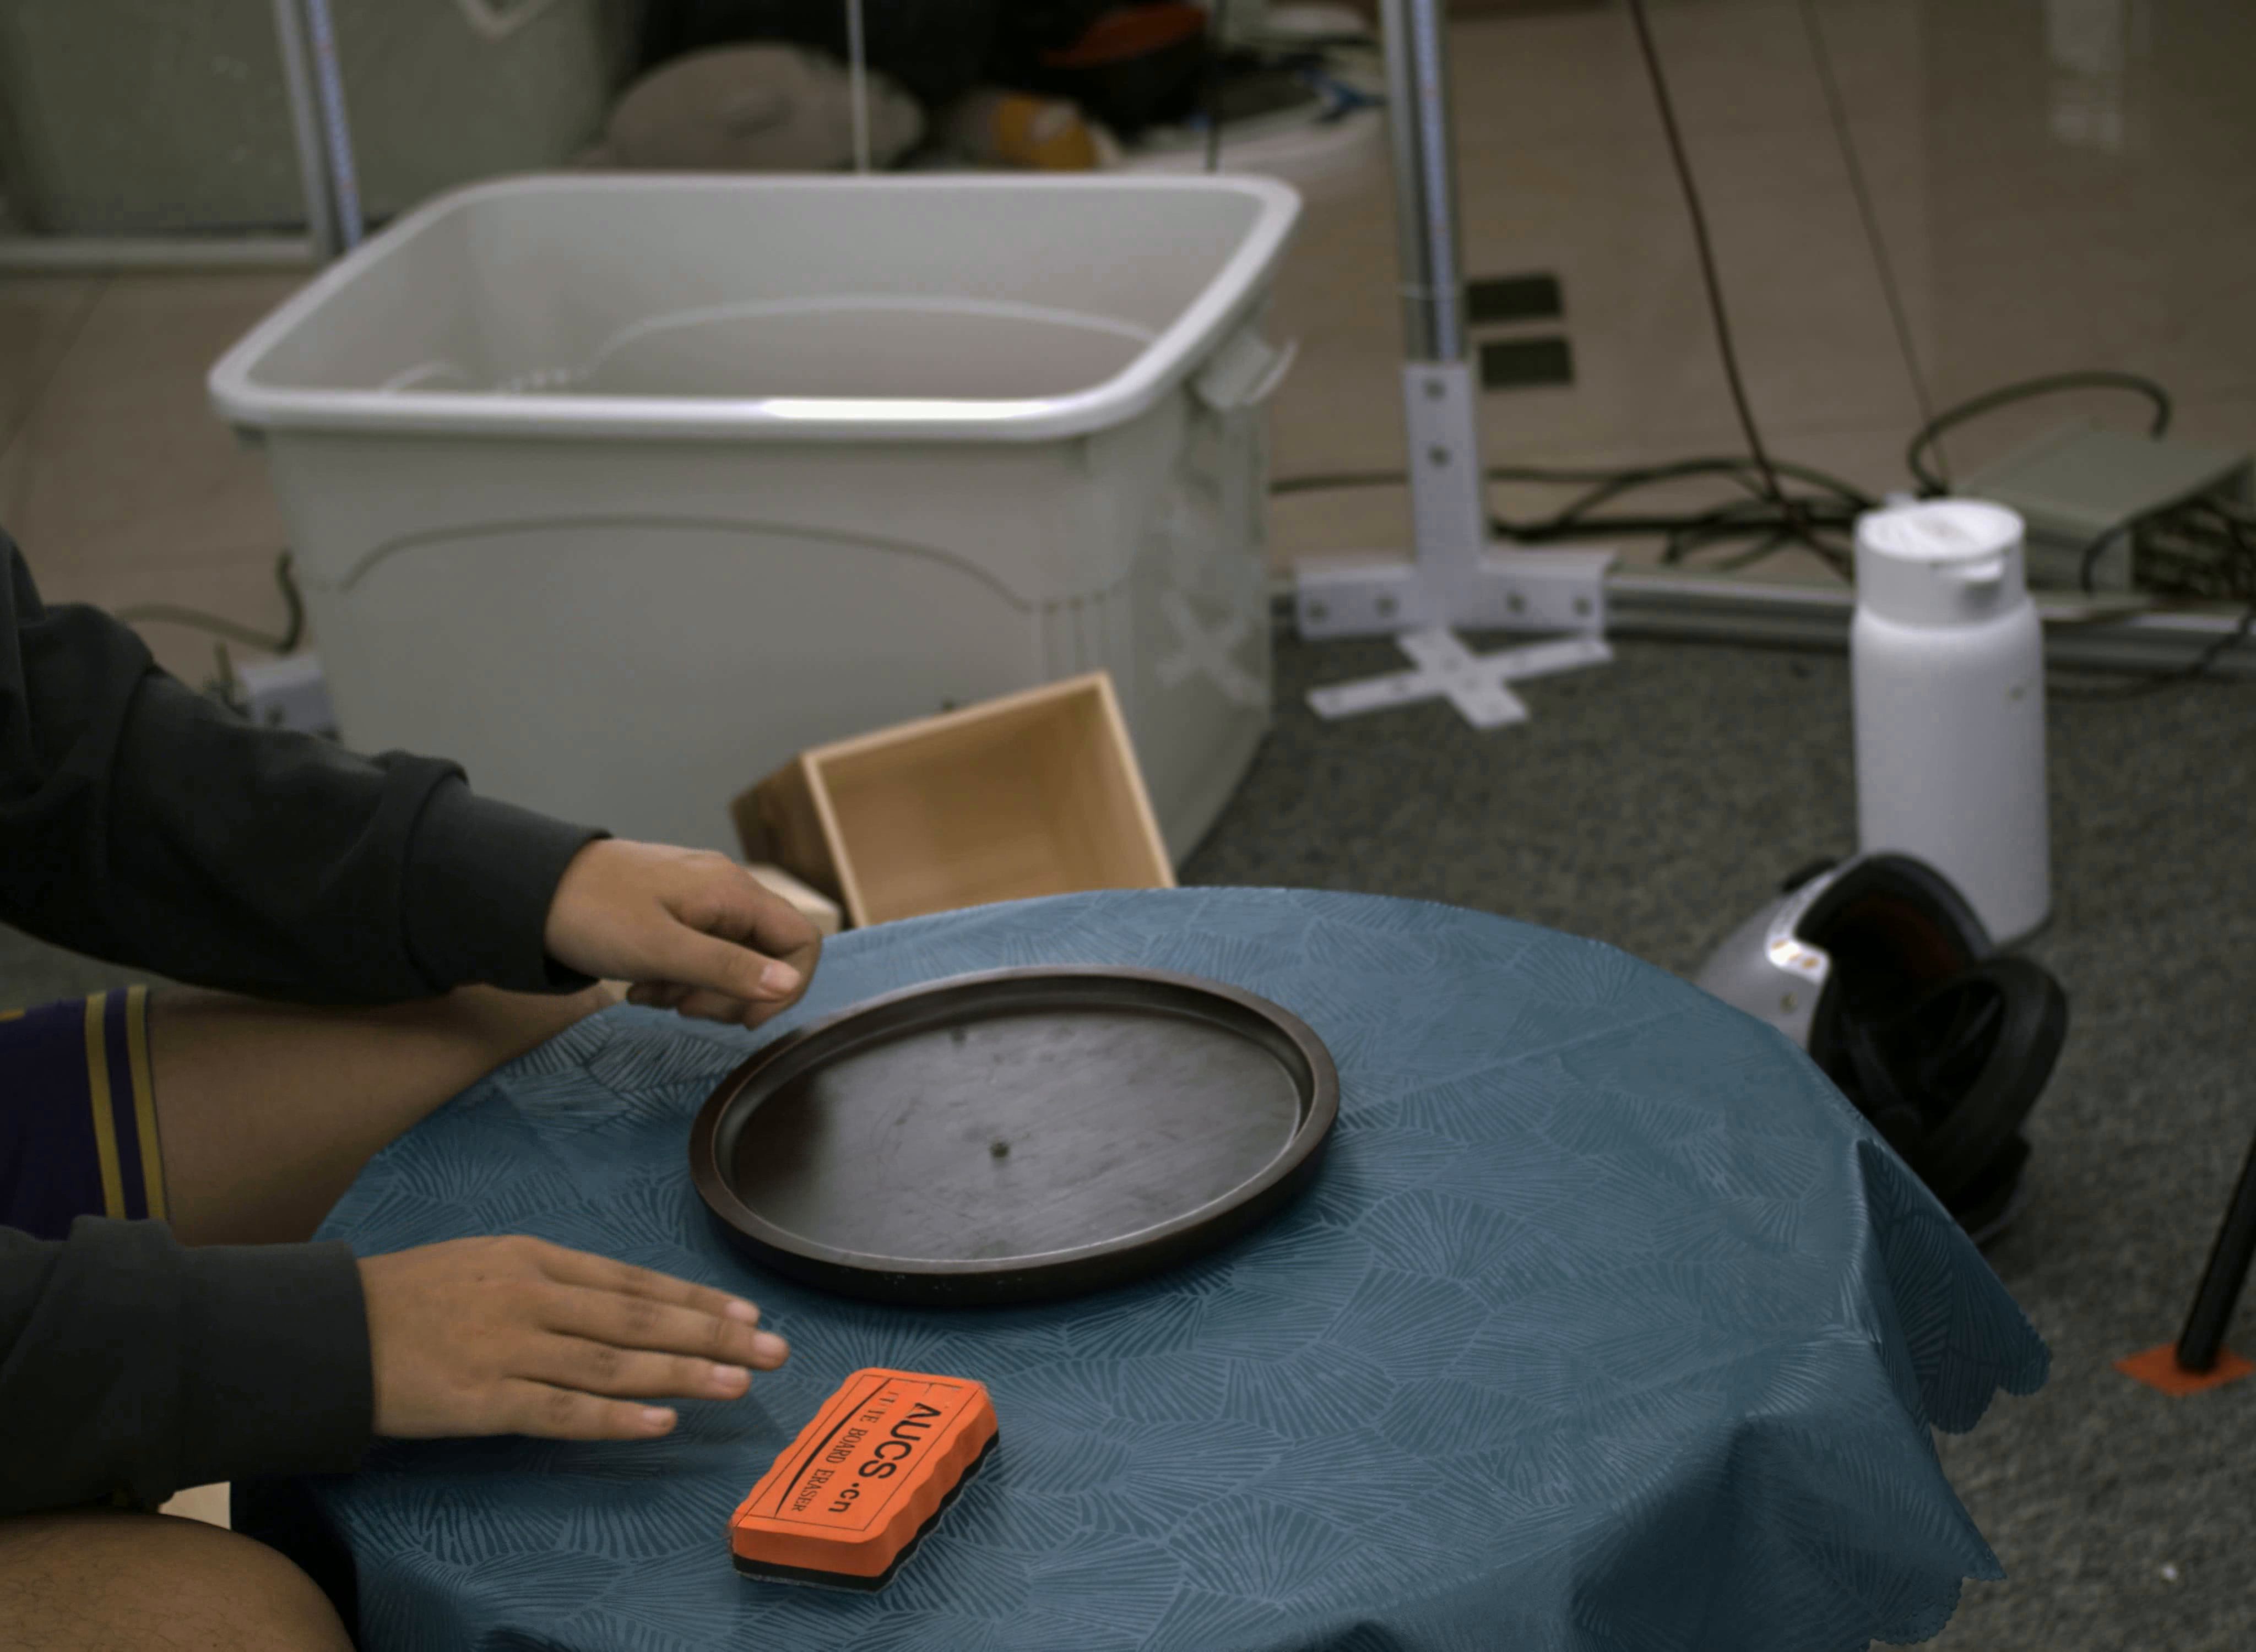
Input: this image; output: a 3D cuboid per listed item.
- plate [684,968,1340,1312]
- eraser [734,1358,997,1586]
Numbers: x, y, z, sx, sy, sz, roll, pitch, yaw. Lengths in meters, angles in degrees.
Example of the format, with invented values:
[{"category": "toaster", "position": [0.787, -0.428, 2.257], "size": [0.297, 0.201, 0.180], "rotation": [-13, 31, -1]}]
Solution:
[{"category": "plate", "position": [-0.044, 0.119, 2.175], "size": [0.254, 0.029, 0.251], "rotation": [-5, 26, 3]}, {"category": "eraser", "position": [-0.090, 0.222, 1.955], "size": [0.059, 0.023, 0.106], "rotation": [5, 28, 23]}]
